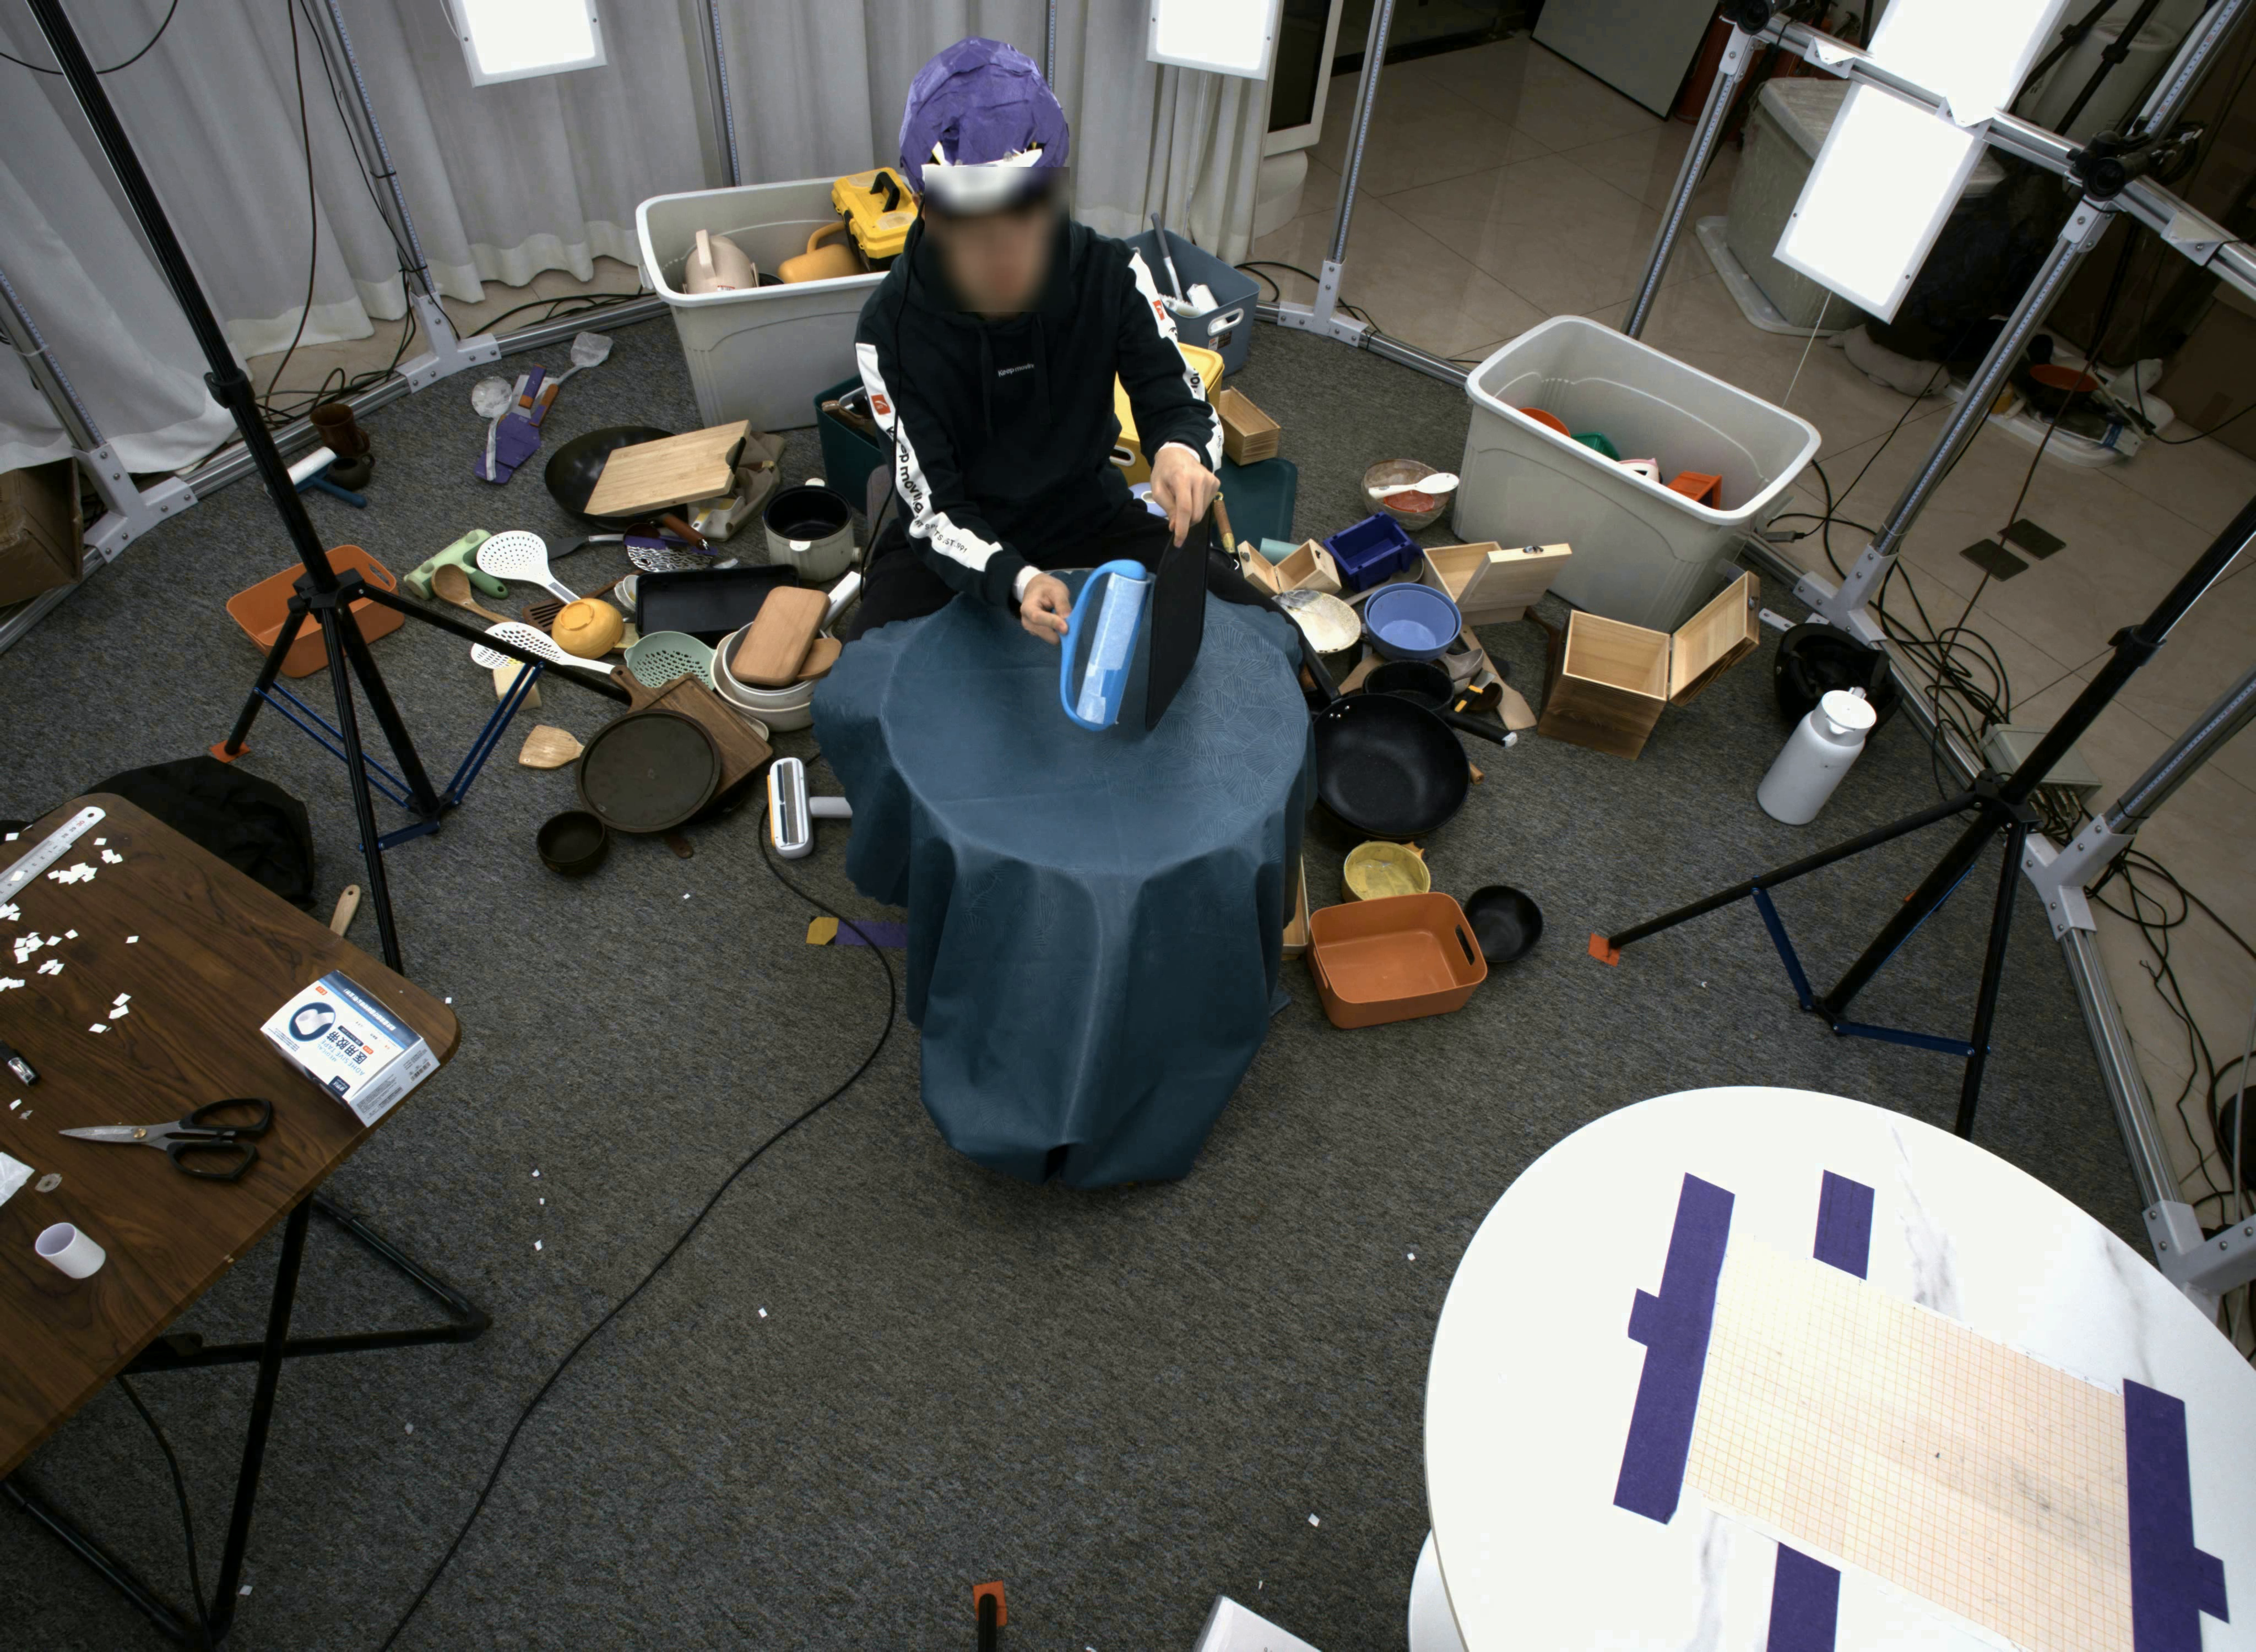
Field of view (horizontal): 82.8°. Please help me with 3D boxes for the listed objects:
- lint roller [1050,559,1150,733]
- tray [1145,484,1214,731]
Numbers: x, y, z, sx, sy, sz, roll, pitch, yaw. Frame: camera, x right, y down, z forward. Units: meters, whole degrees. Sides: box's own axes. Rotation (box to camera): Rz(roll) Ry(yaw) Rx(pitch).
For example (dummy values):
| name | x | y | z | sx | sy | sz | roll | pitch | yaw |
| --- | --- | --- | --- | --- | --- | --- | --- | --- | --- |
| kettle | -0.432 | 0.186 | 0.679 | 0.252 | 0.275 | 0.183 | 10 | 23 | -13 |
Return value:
| name | x | y | z | sx | sy | sz | roll | pitch | yaw |
| --- | --- | --- | --- | --- | --- | --- | --- | --- | --- |
| lint roller | -0.060 | -0.250 | 1.674 | 0.068 | 0.225 | 0.183 | -7 | 27 | -42 |
| tray | 0.070 | -0.291 | 1.713 | 0.010 | 0.317 | 0.215 | 18 | 48 | 14 |
